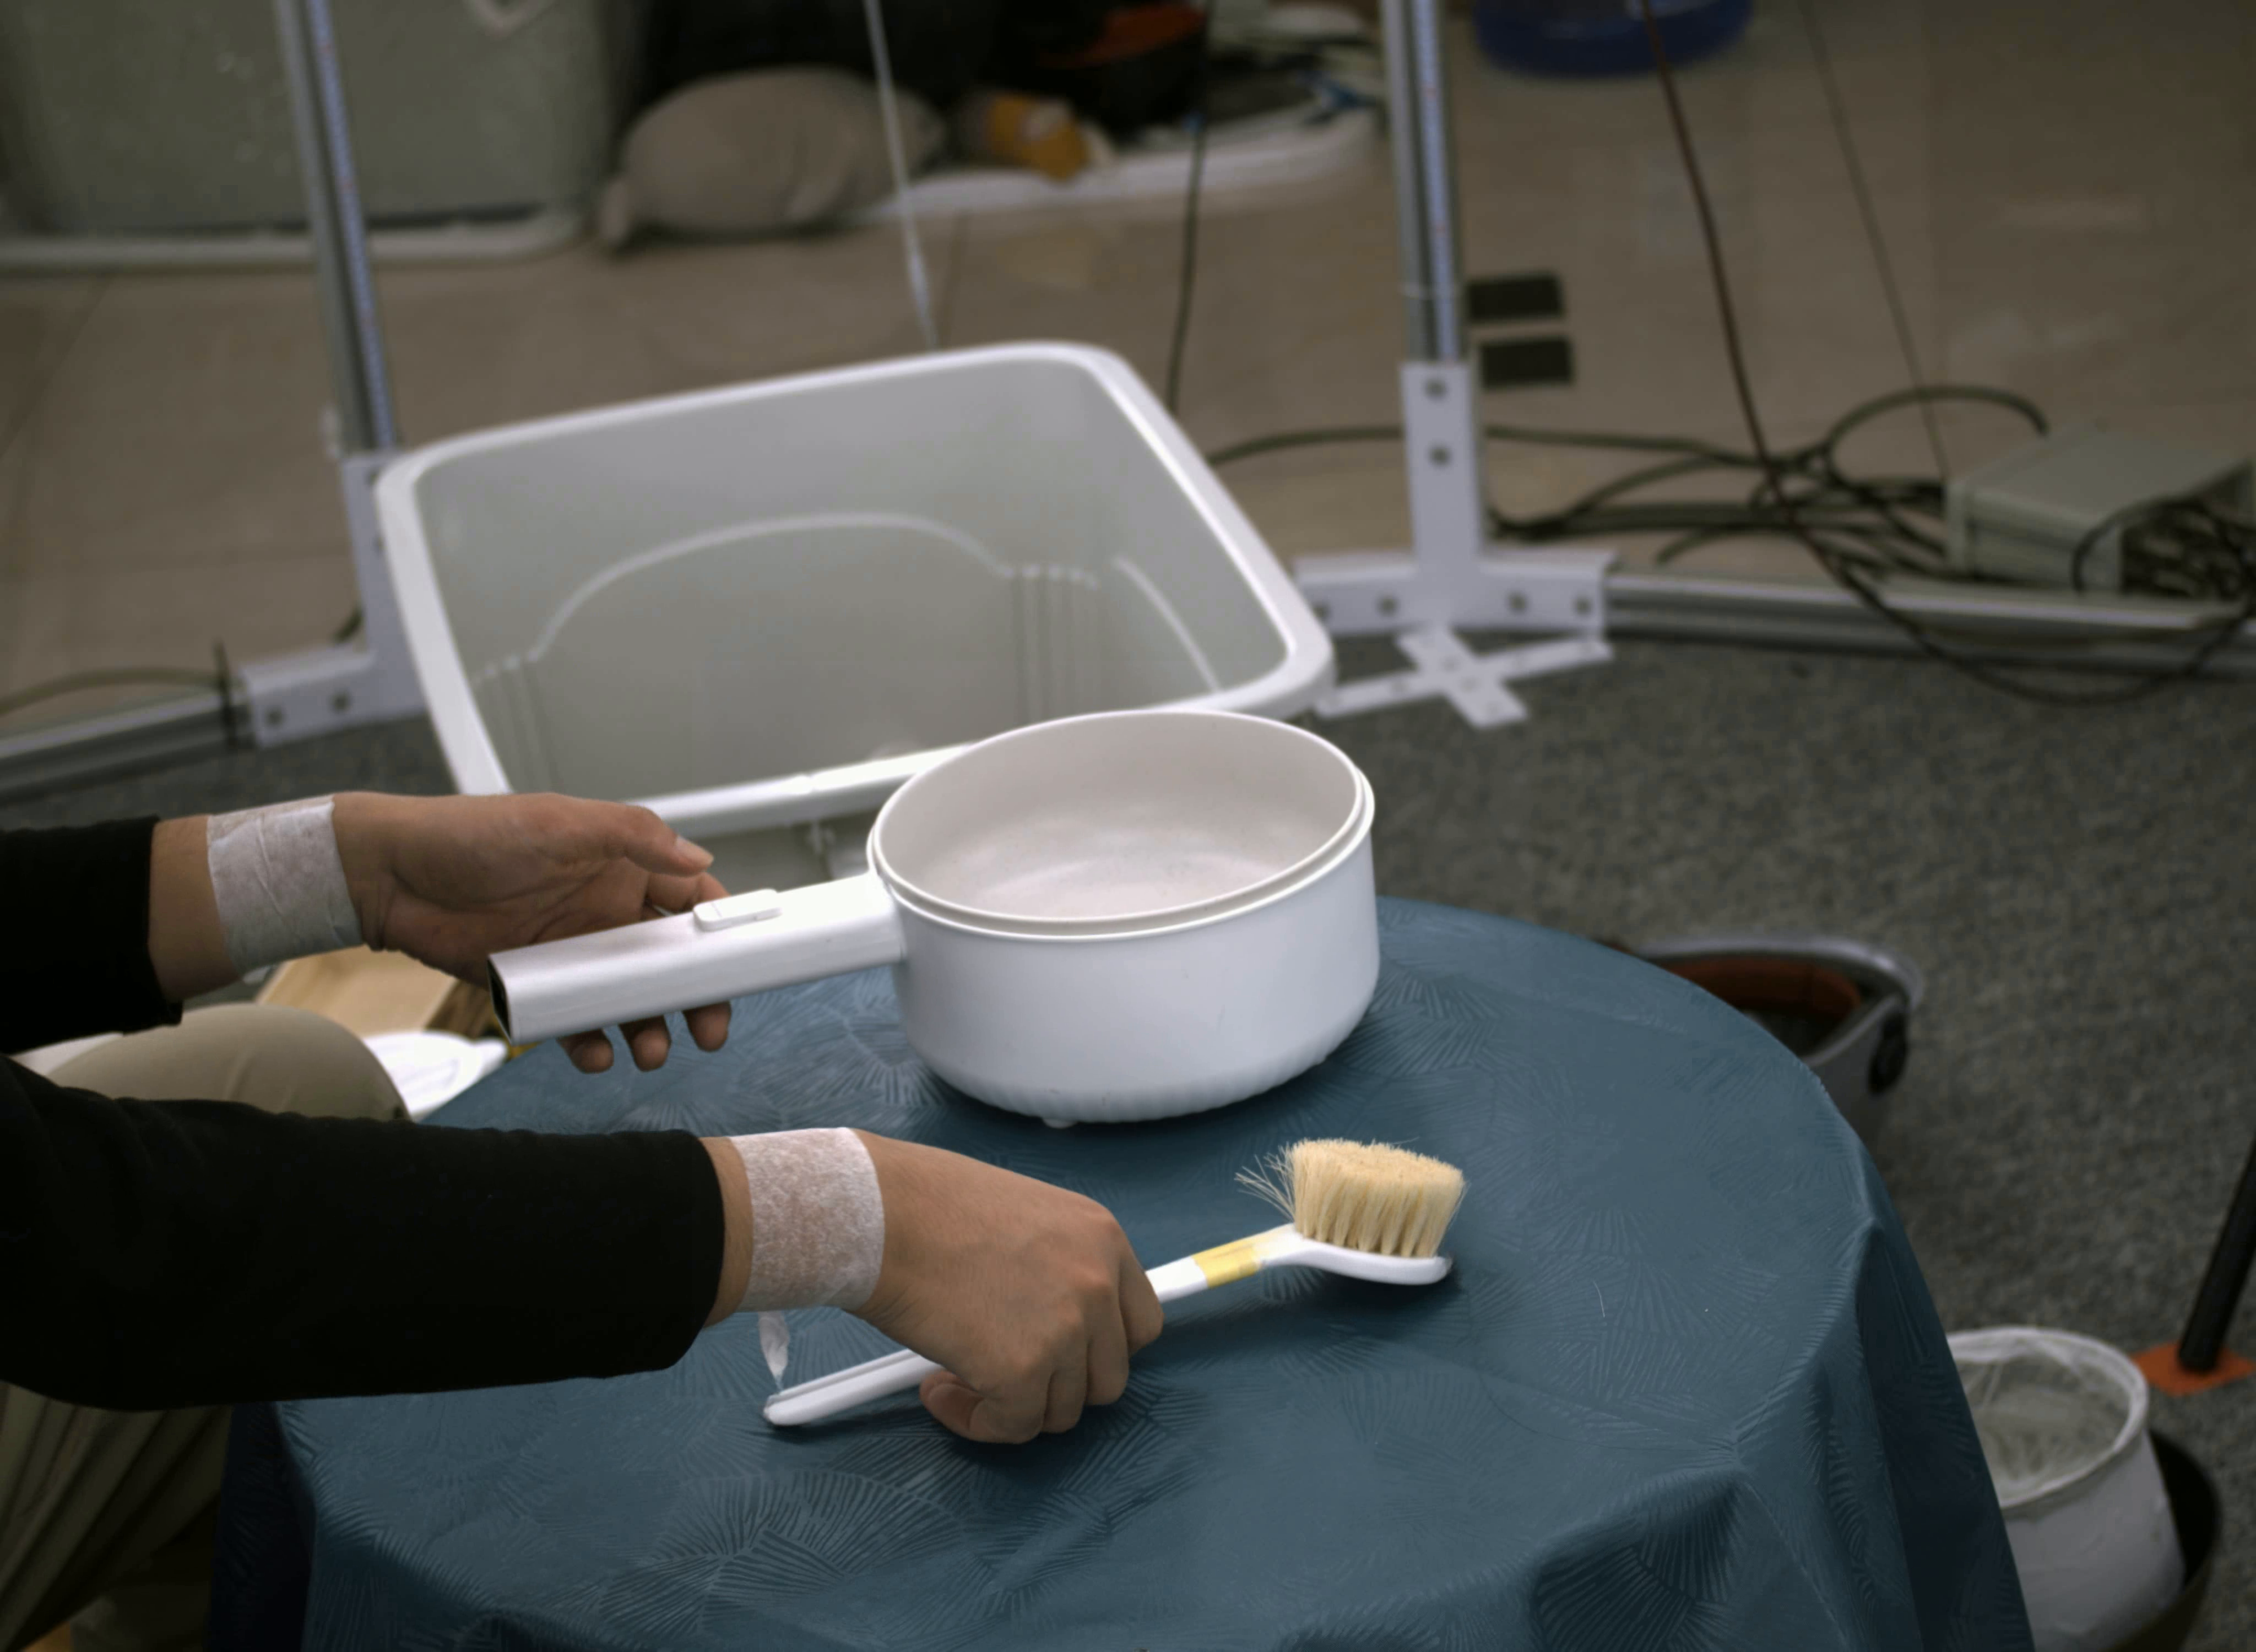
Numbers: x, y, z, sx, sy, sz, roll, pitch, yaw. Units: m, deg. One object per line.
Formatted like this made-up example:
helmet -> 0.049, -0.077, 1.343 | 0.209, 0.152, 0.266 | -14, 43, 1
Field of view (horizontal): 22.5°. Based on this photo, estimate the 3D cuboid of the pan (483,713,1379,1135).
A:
pan -> -0.071, 0.059, 2.222 | 0.353, 0.104, 0.198 | -14, 27, -14

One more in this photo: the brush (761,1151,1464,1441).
brush -> -0.006, 0.163, 2.028 | 0.266, 0.056, 0.068 | -13, 8, -9
